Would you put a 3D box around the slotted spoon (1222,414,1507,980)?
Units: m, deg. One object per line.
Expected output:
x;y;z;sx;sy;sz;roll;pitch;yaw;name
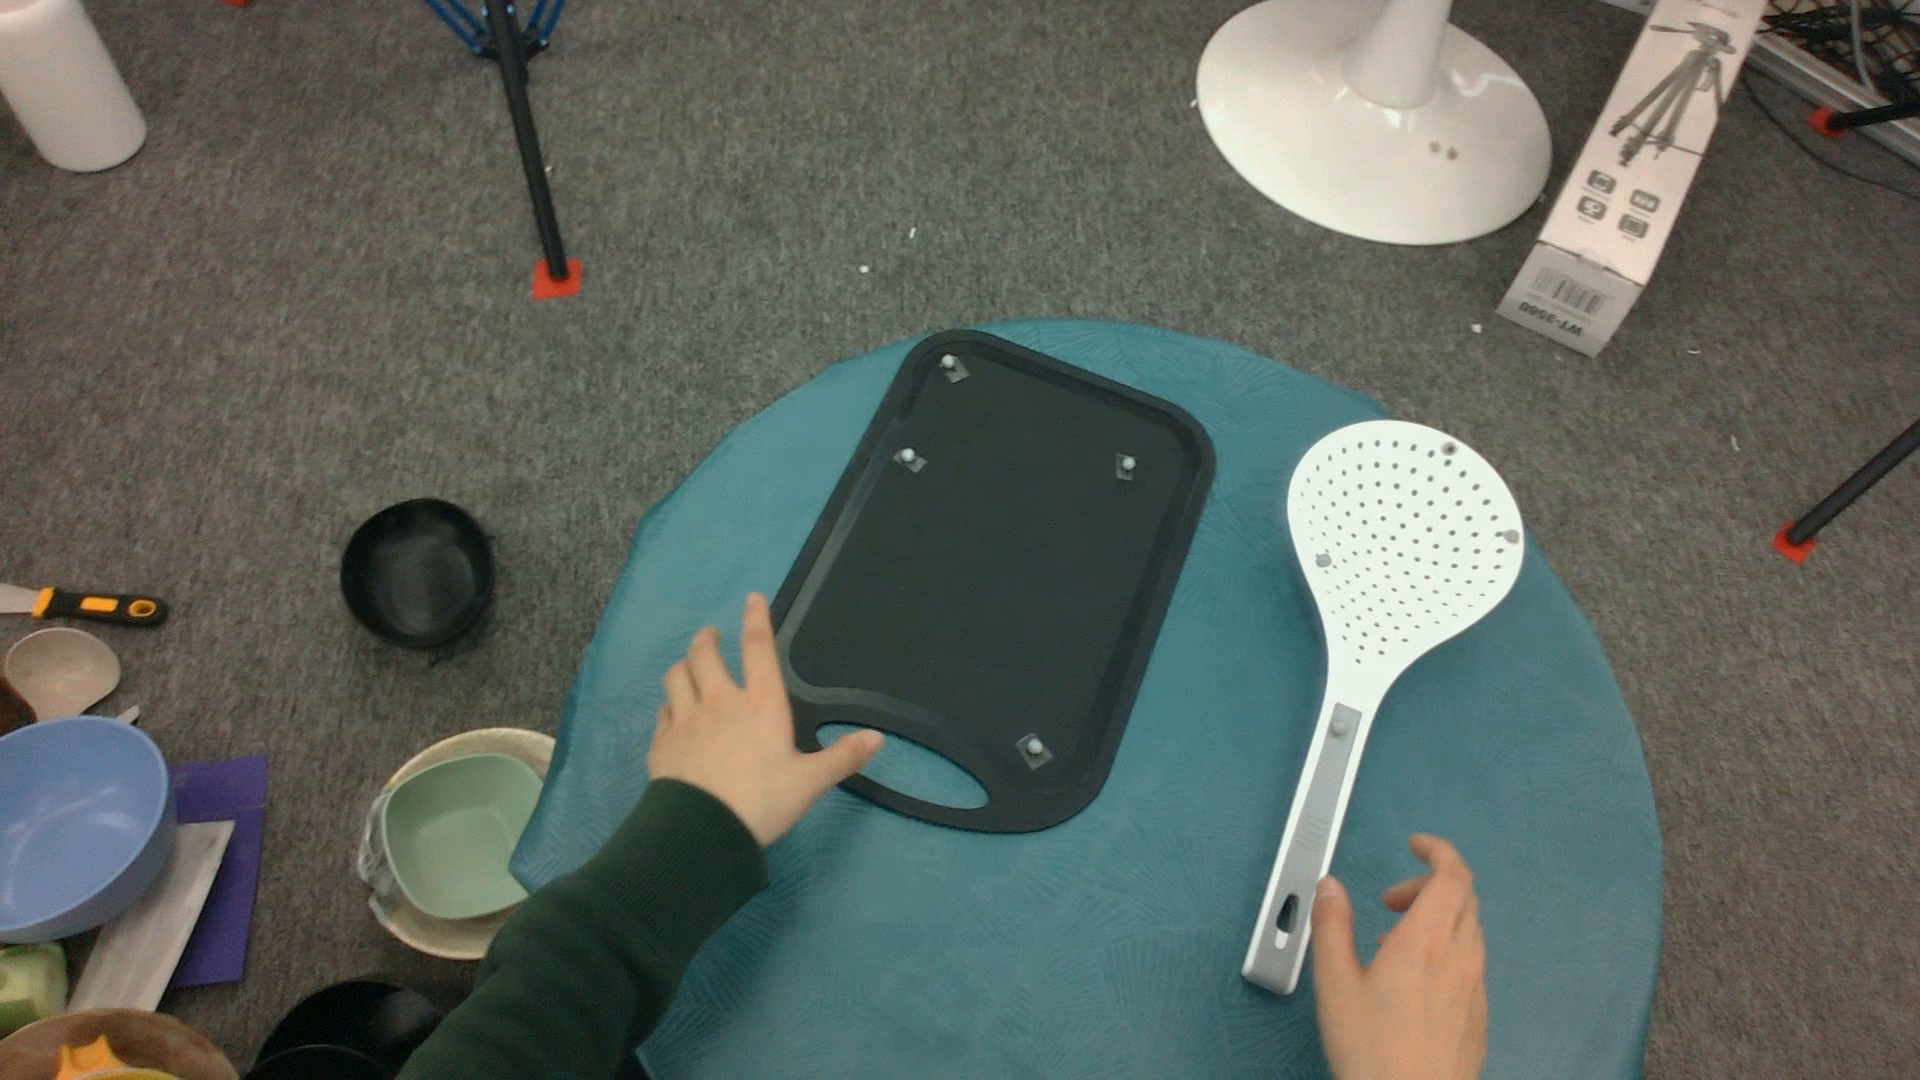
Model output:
0.212;0.075;0.768;0.136;0.045;0.351;21;59;8;slotted spoon

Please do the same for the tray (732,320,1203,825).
0.011;0.008;0.803;0.211;0.010;0.327;22;59;6;tray
